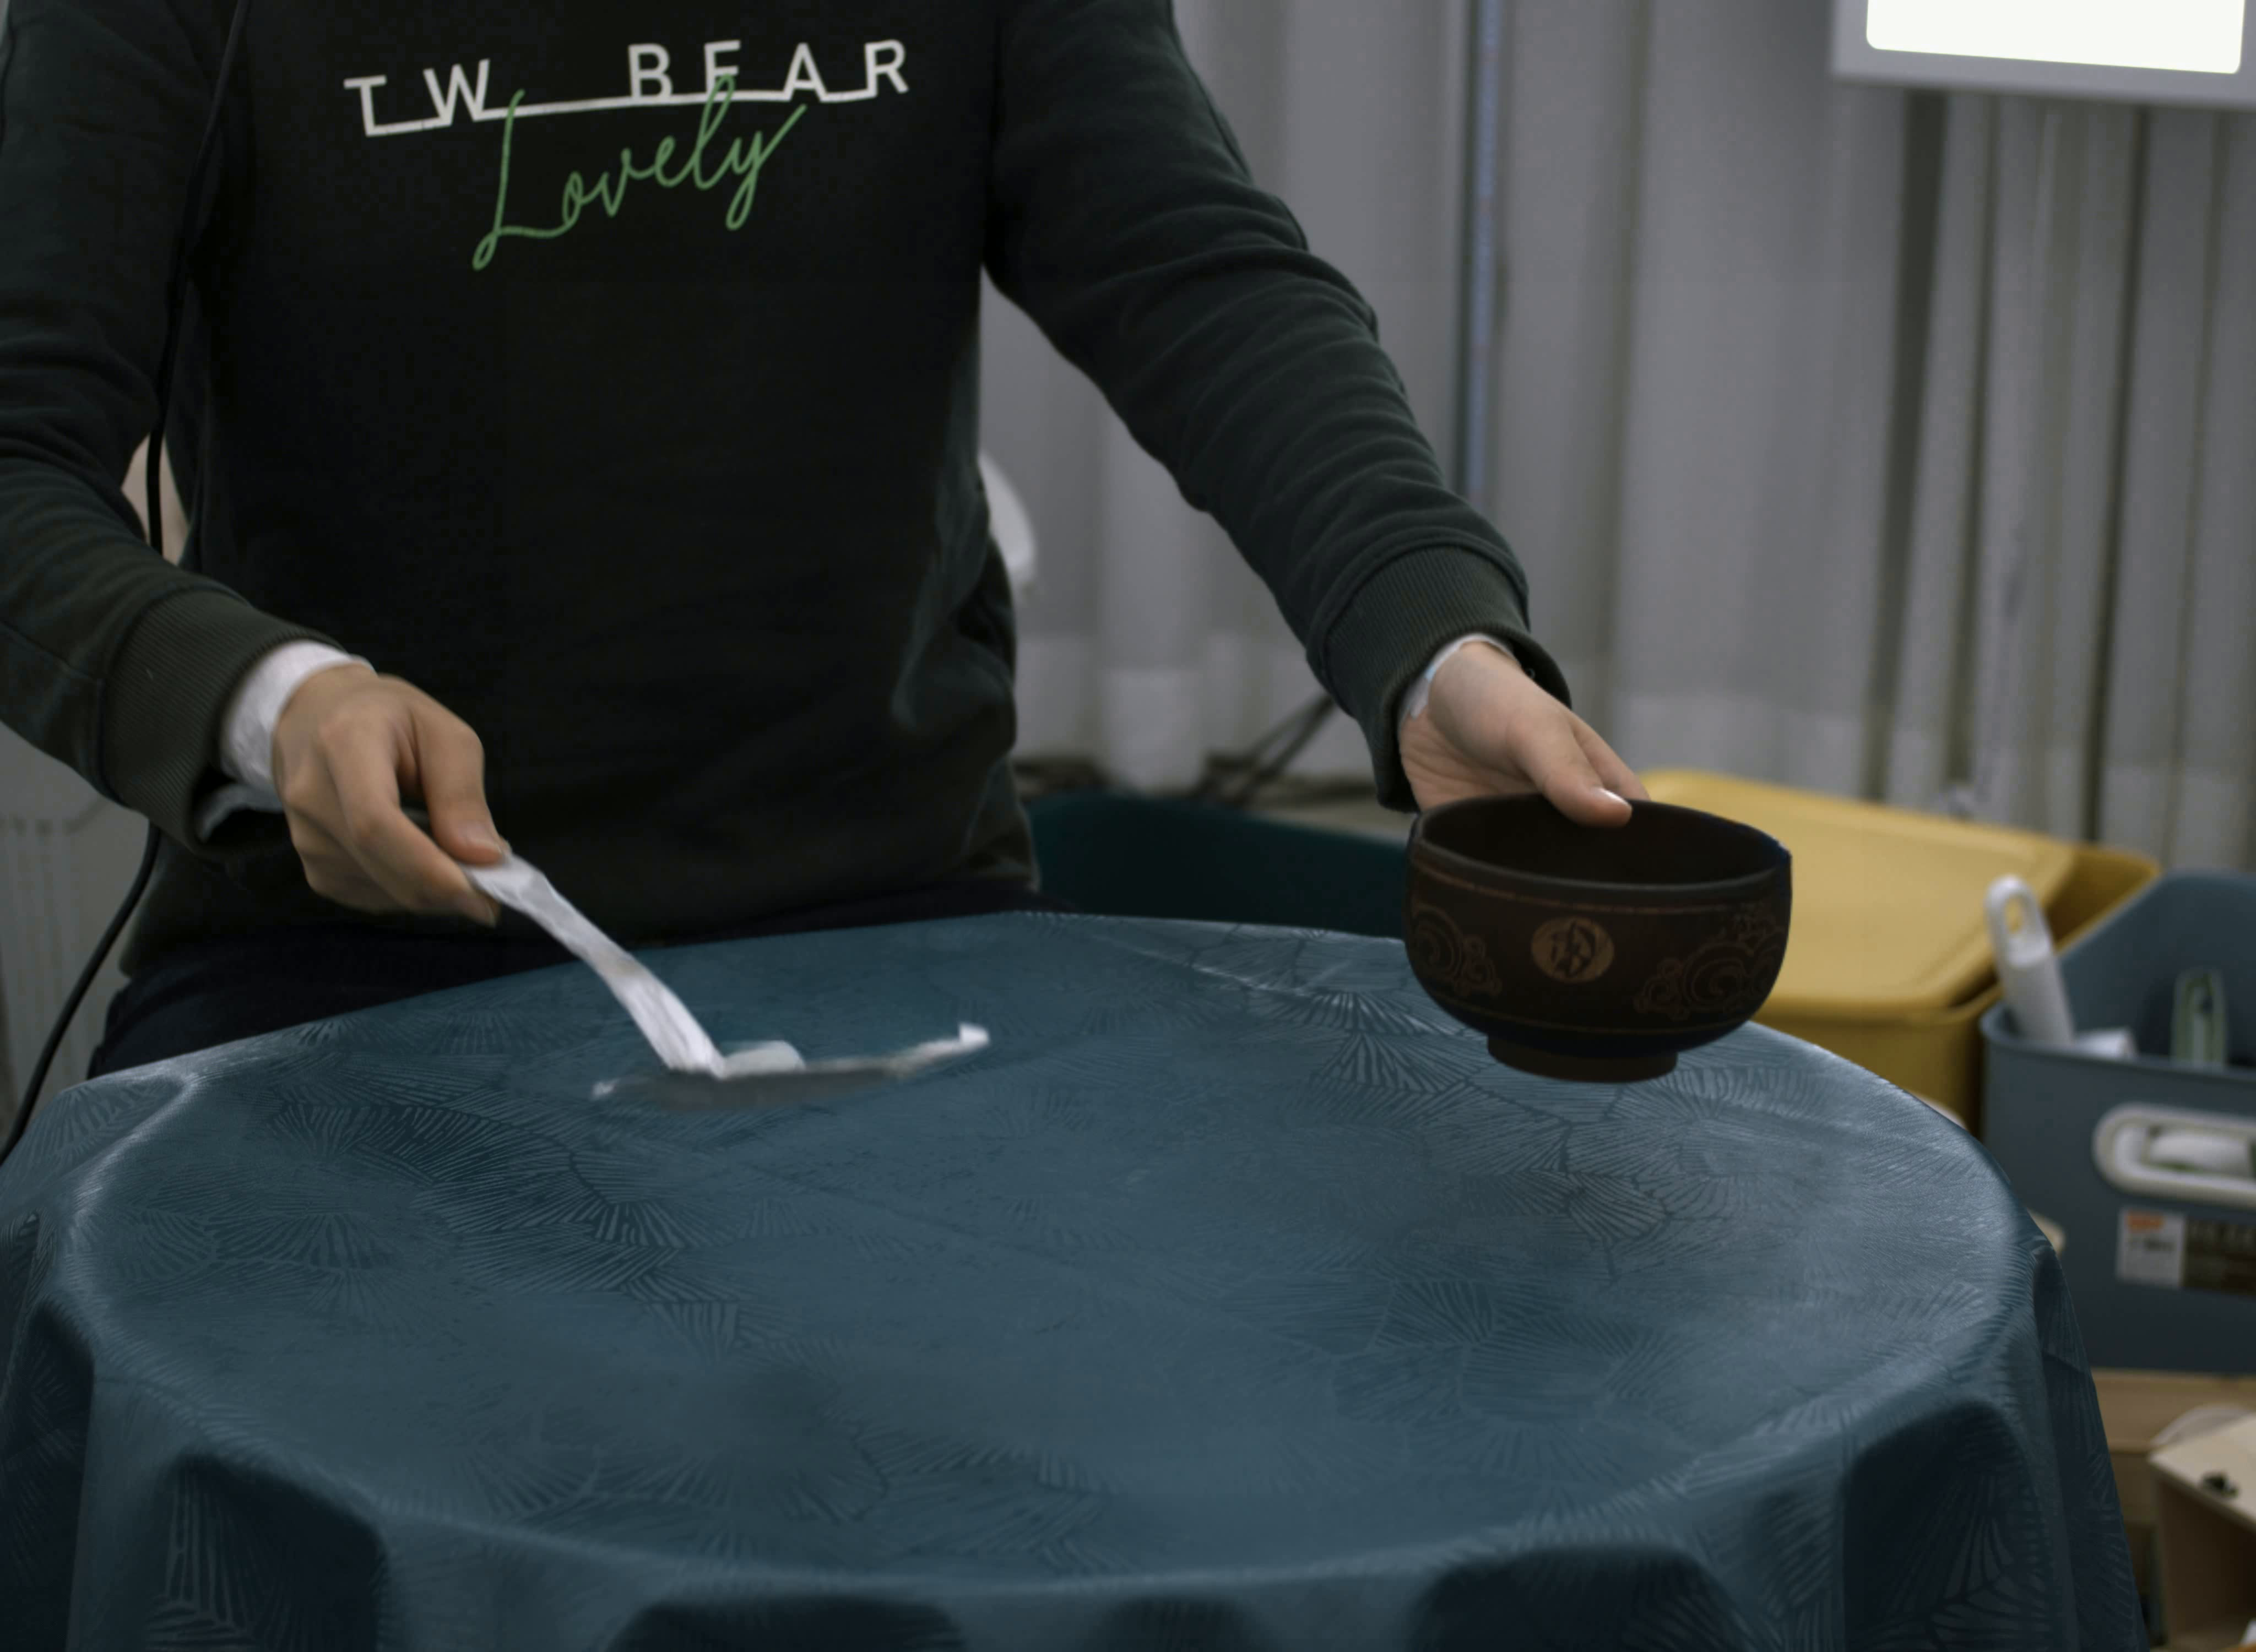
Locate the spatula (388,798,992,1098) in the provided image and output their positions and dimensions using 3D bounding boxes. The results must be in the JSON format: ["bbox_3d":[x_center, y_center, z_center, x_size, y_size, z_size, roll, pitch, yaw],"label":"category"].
[{"bbox_3d":[-0.151,0.025,1.507,0.099,0.045,0.360,-6,19,-26],"label":"spatula"}]

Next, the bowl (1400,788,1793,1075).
[{"bbox_3d":[0.139,0.034,1.586,0.117,0.070,0.117,5,12,-1],"label":"bowl"}]
